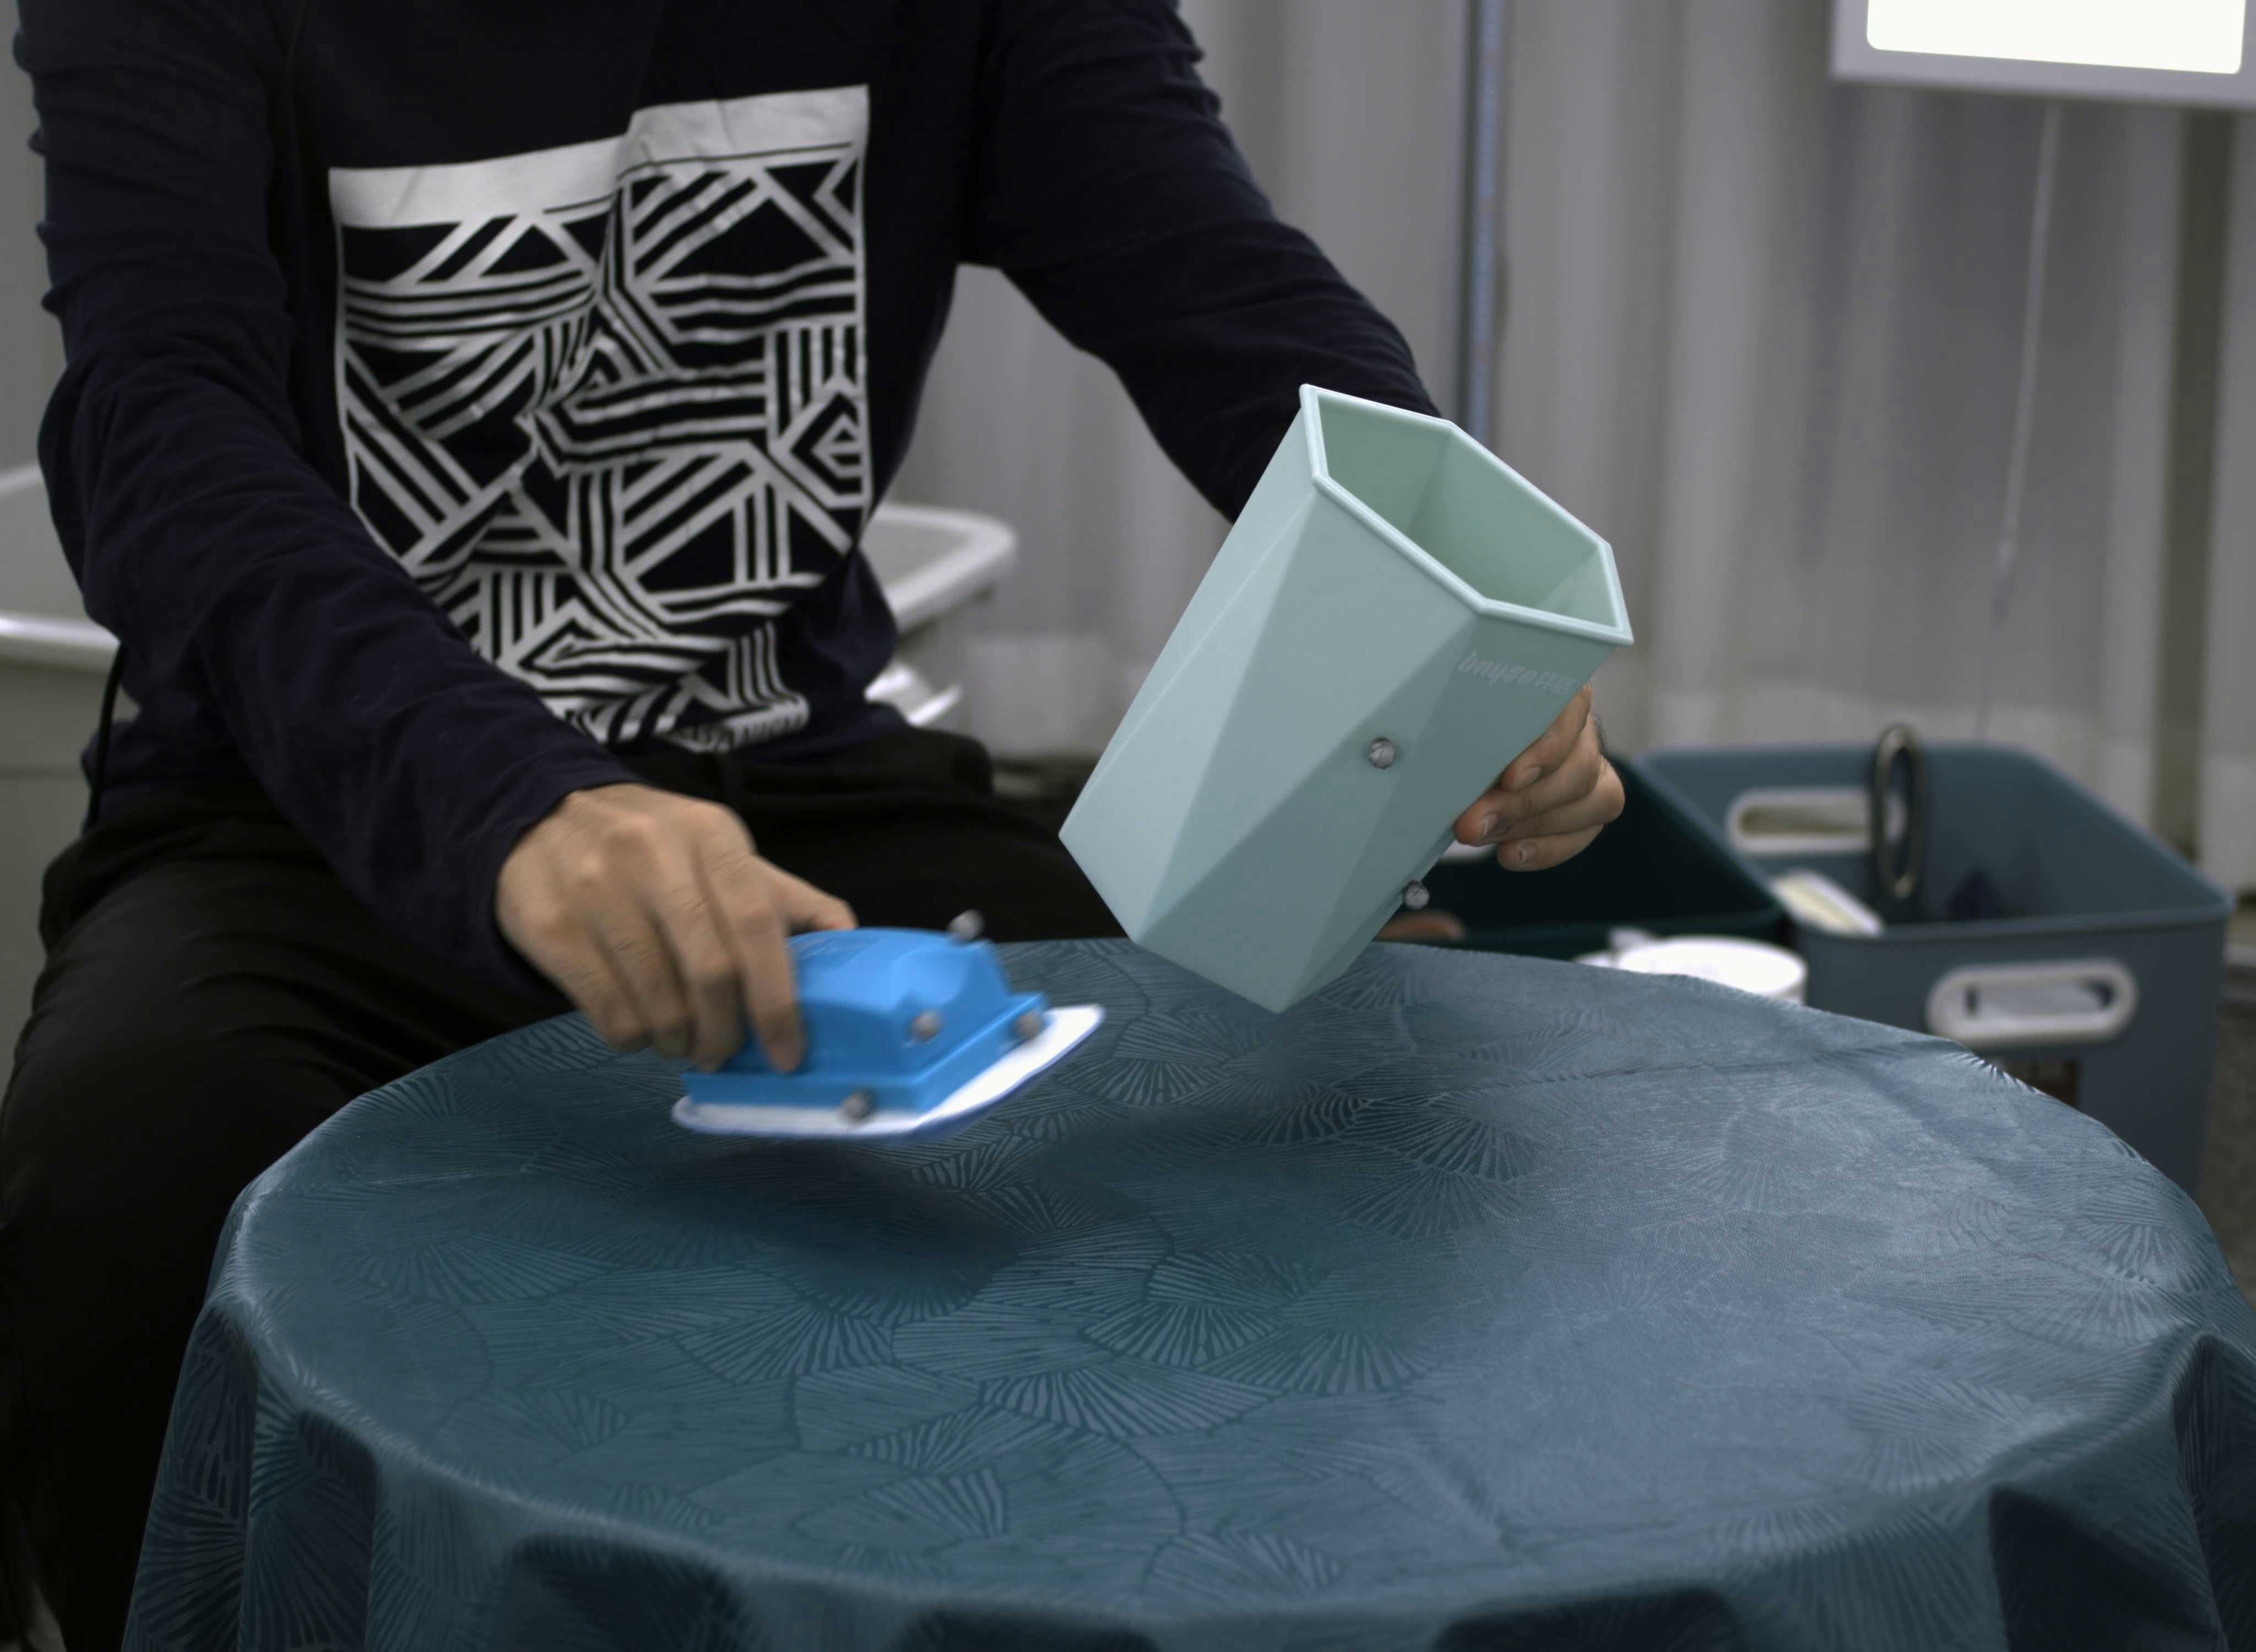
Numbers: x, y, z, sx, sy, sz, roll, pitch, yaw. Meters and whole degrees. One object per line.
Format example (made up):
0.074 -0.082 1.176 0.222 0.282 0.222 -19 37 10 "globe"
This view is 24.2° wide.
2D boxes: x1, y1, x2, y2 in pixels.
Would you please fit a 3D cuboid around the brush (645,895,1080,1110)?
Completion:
-0.085 0.052 1.604 0.084 0.056 0.142 -29 20 -36 "brush"

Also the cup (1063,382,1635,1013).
0.065 -0.035 1.643 0.132 0.163 0.113 8 34 -44 "cup"
